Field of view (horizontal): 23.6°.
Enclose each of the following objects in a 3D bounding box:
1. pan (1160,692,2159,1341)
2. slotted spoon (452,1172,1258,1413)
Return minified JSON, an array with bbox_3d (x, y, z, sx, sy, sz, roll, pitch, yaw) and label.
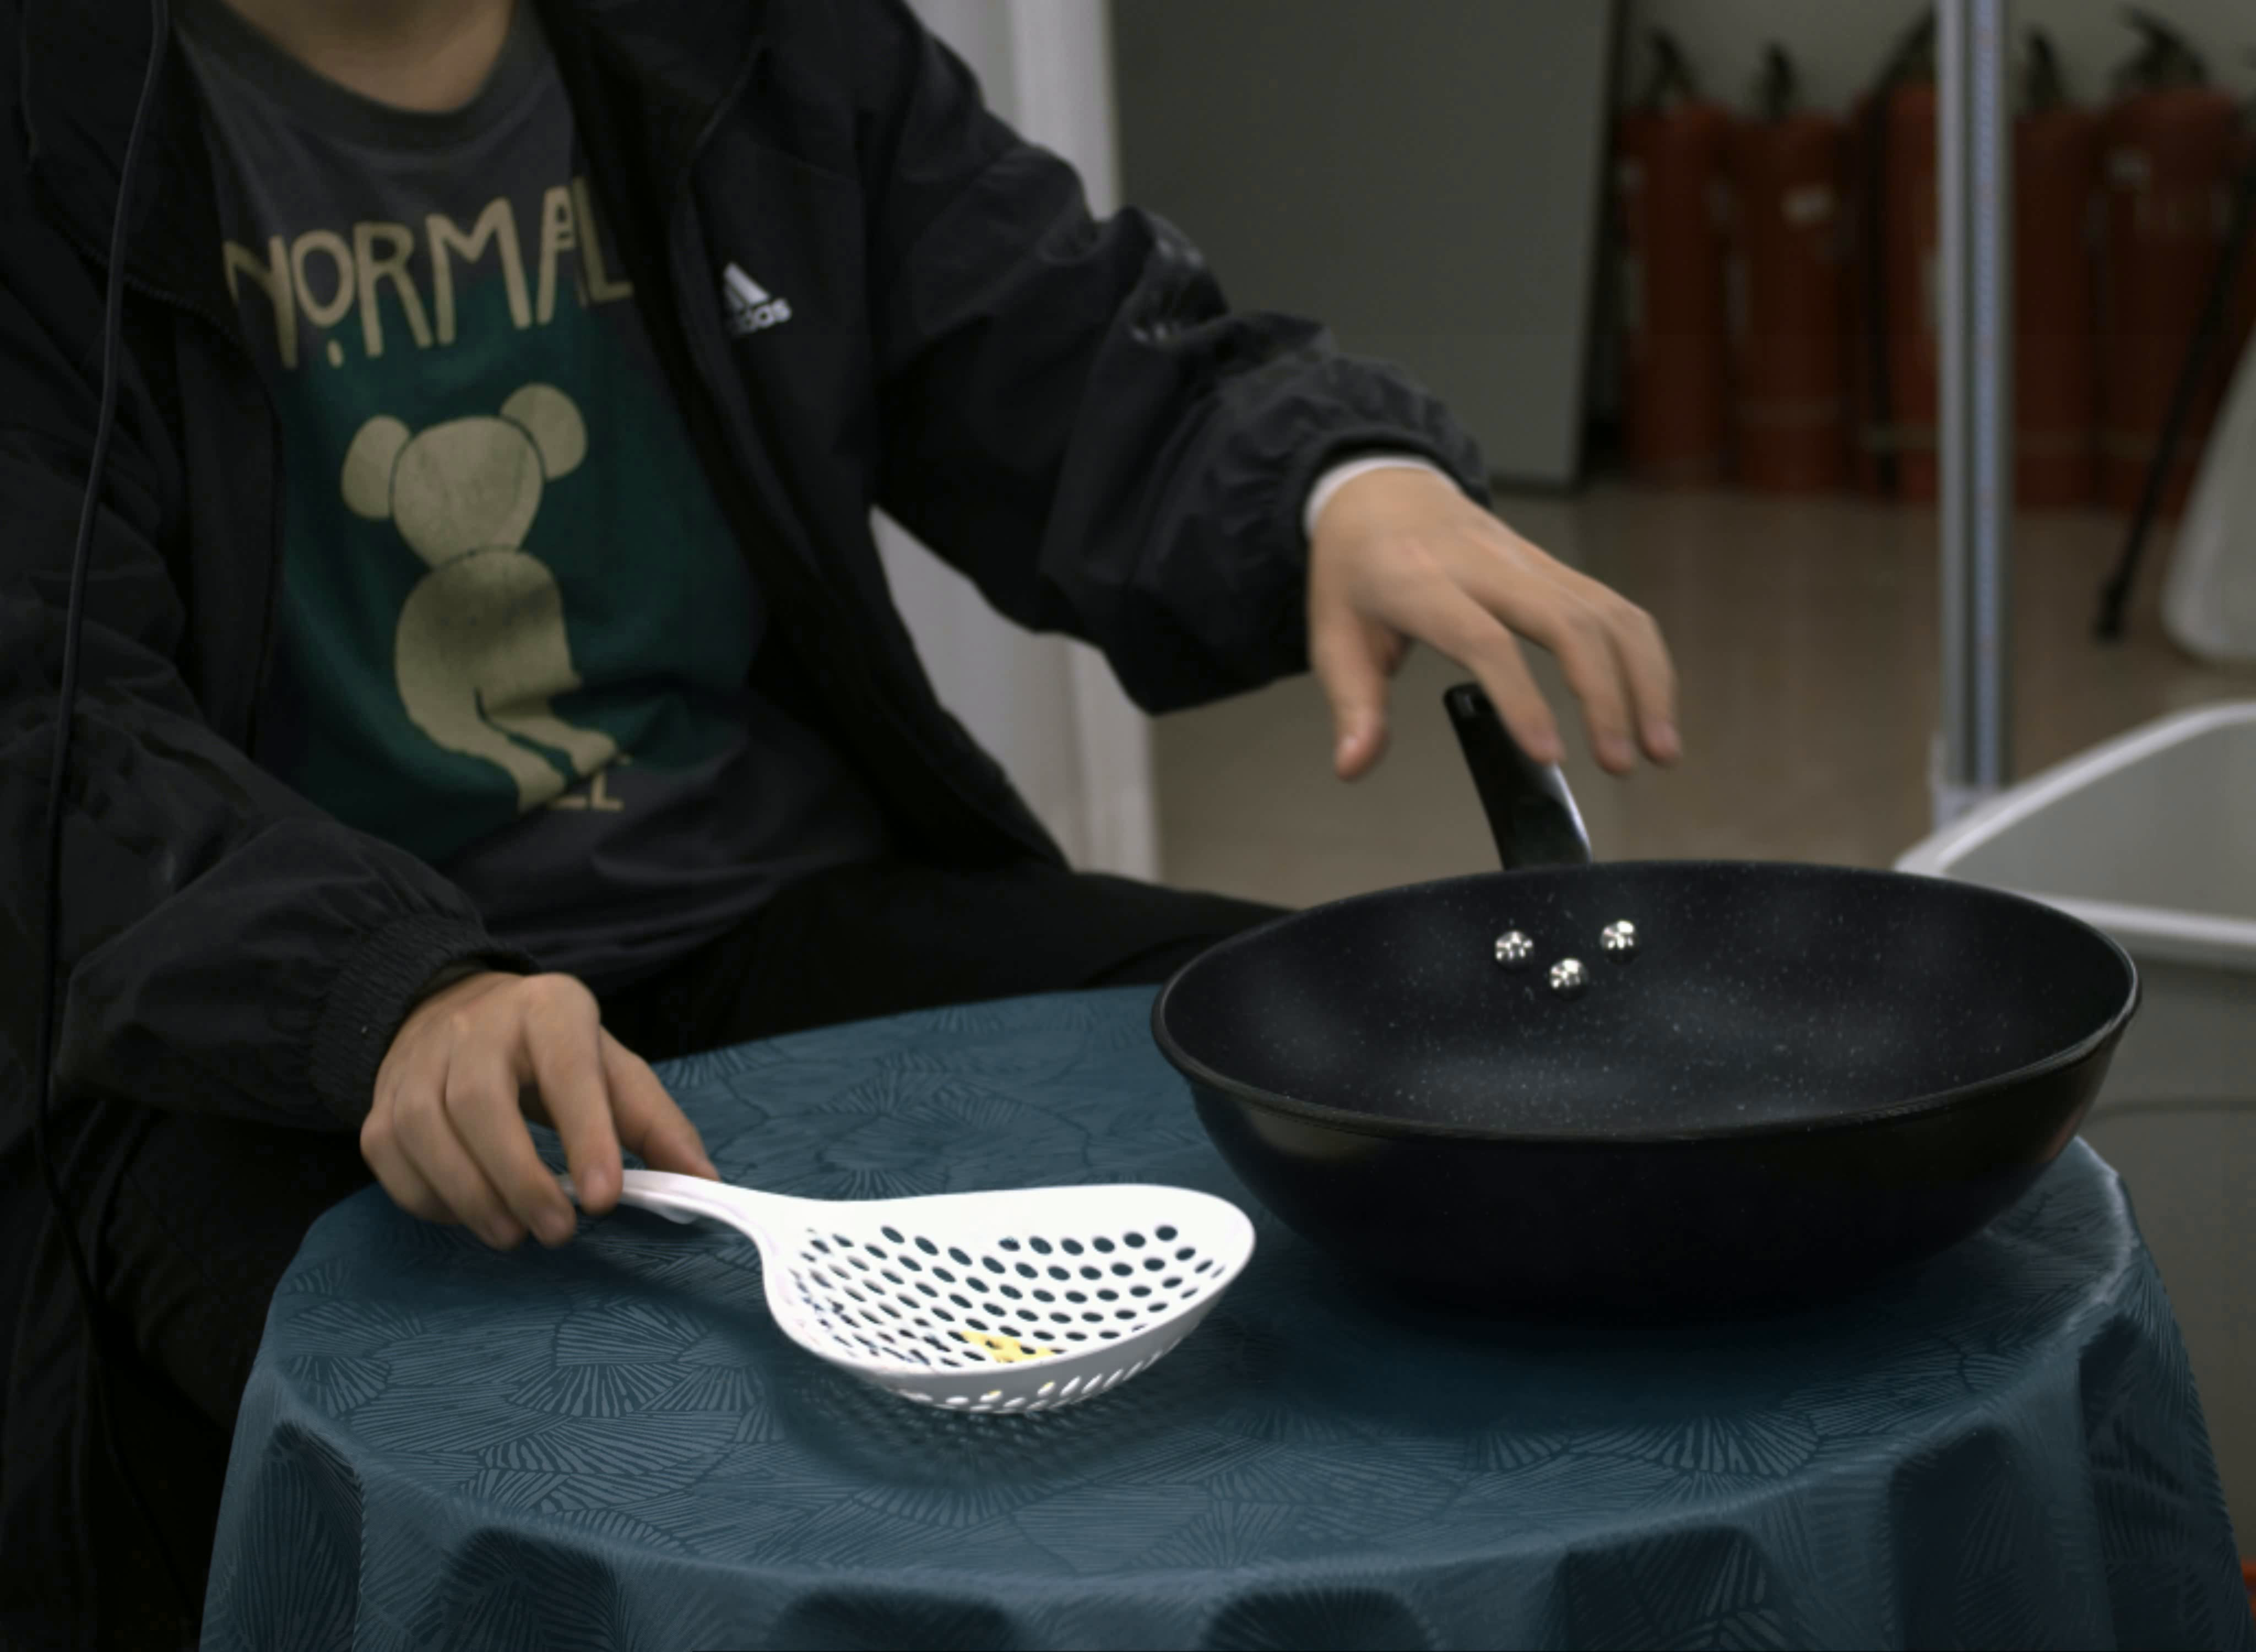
[{"bbox_3d":[0.155,0.061,1.749,0.305,0.113,0.478,-4,14,-4],"label":"pan"},{"bbox_3d":[-0.100,0.133,1.666,0.134,0.051,0.351,-25,23,-37],"label":"slotted spoon"}]
